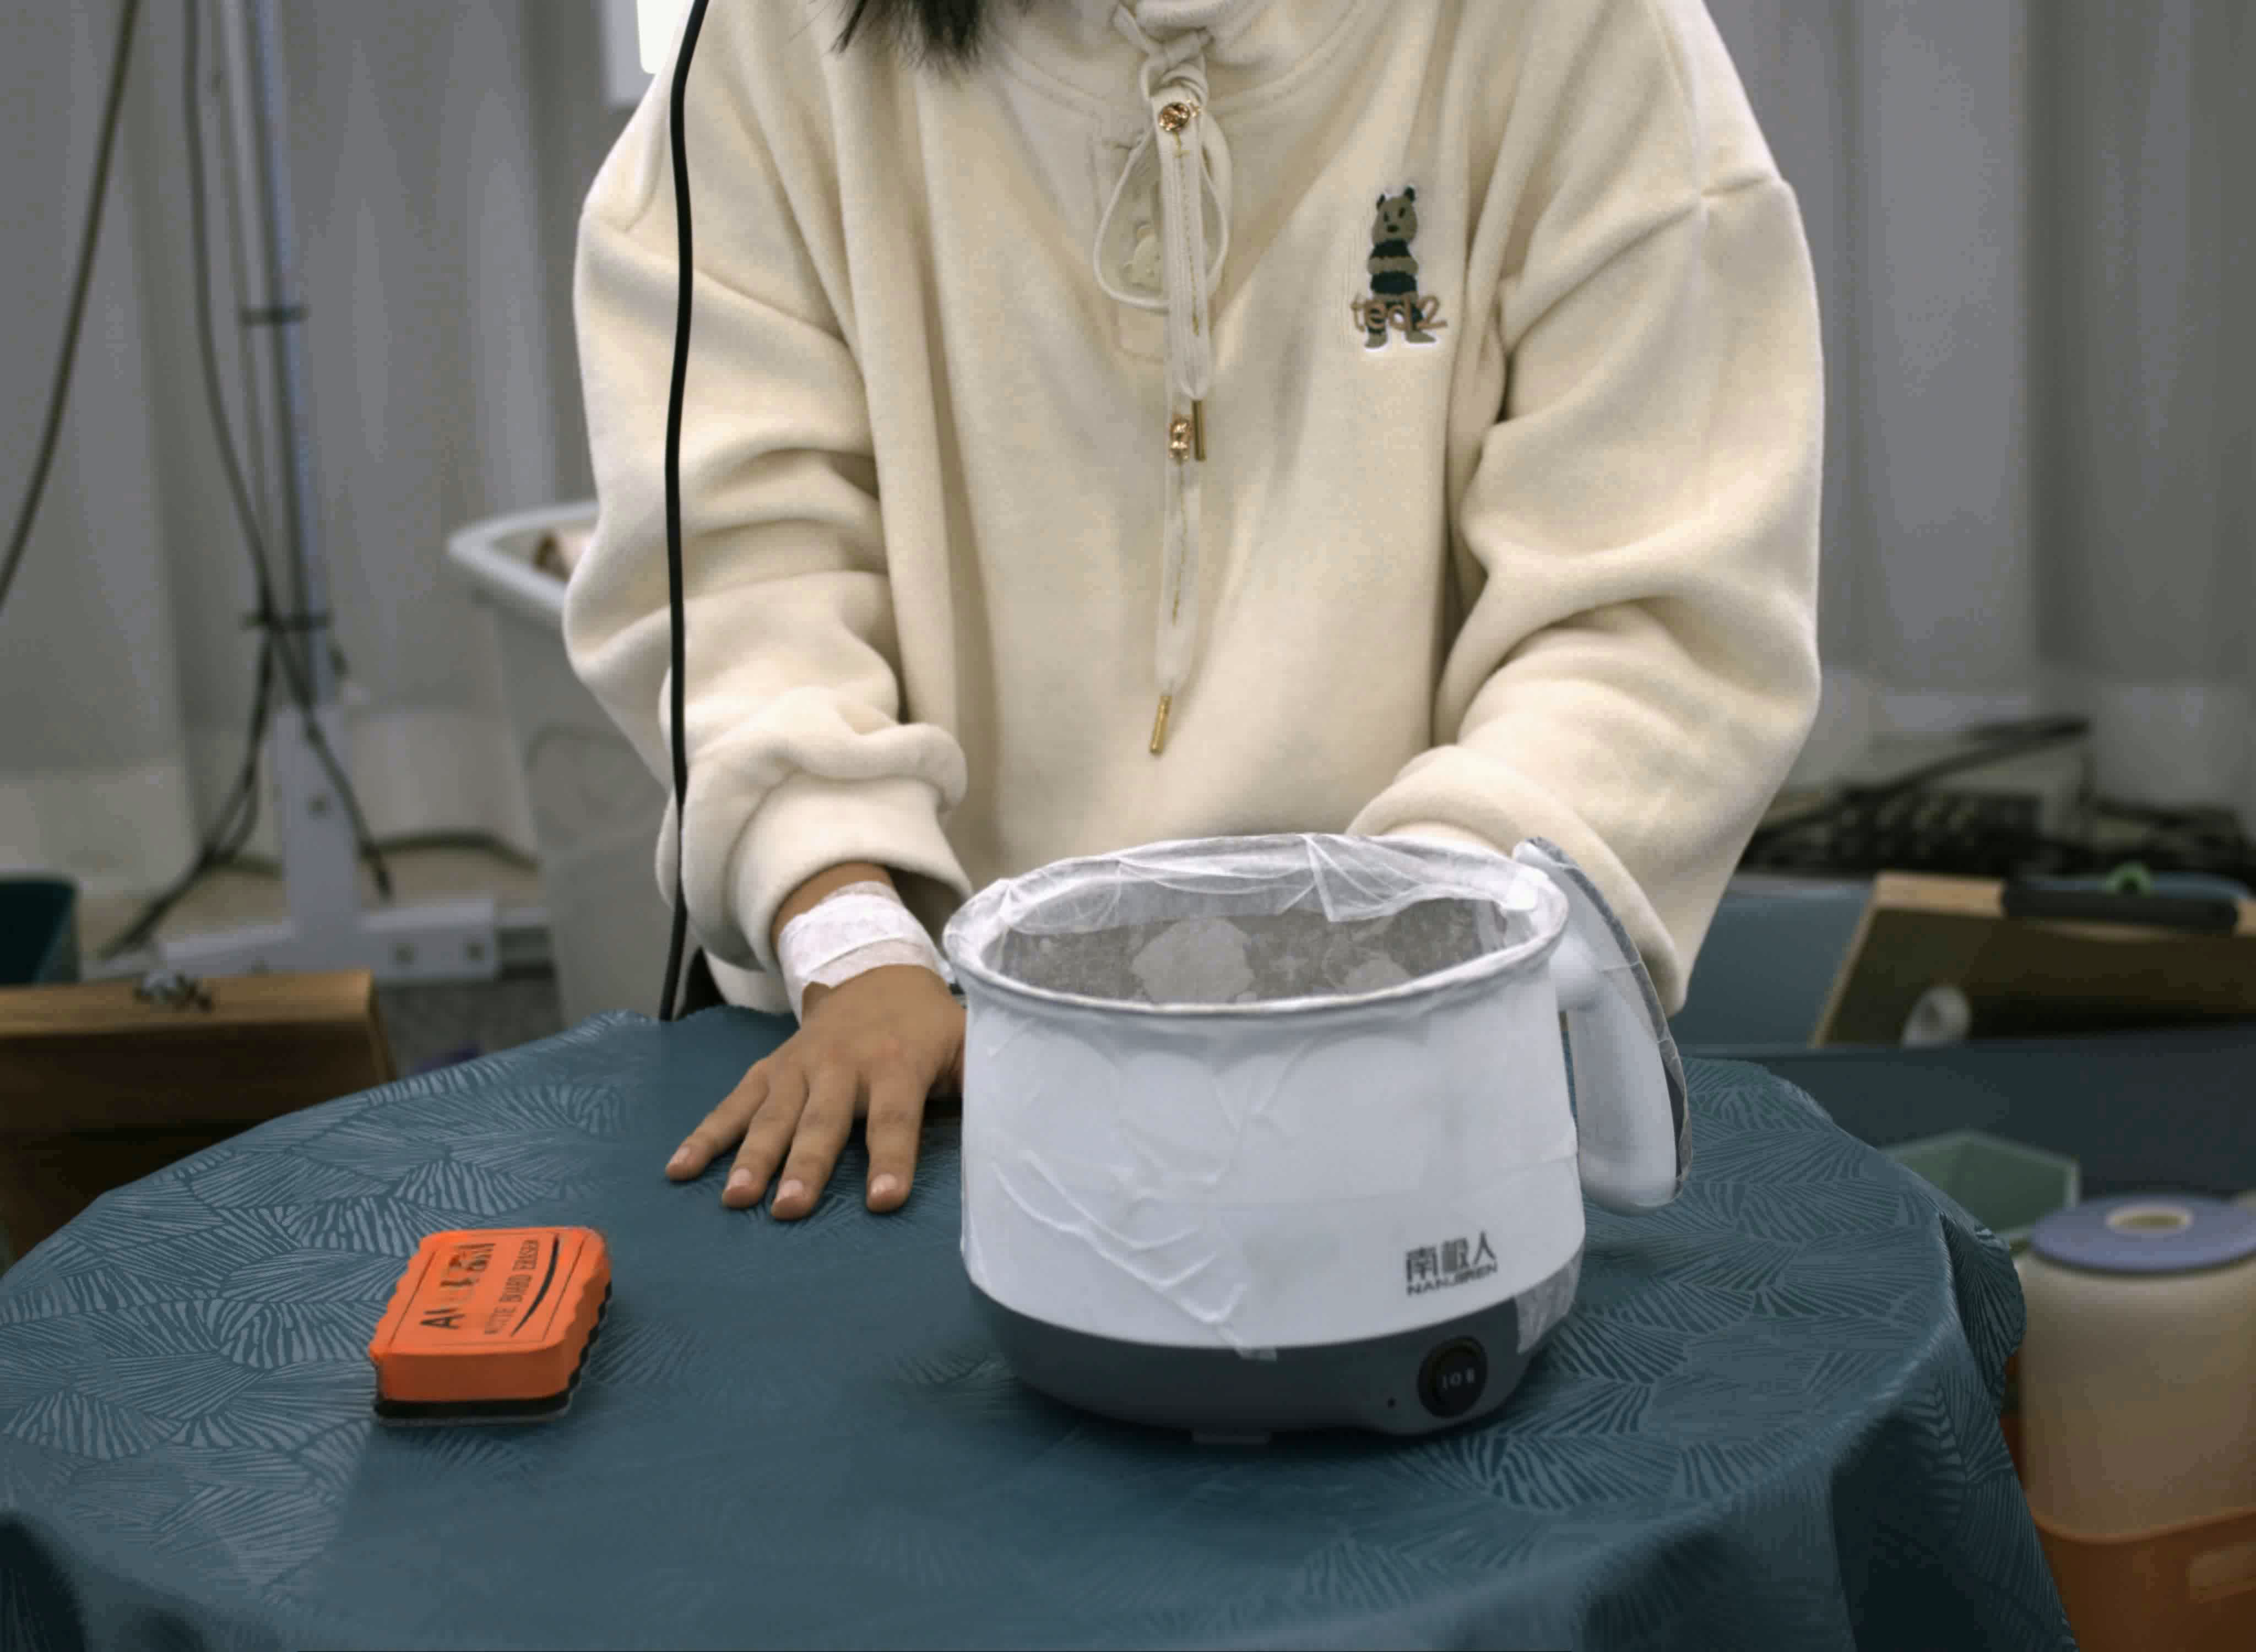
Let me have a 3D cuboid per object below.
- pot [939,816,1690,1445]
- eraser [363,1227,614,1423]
[{"bbox_3d":[0.061,0.079,1.562,0.233,0.136,0.180,-14,20,-32],"label":"pot"},{"bbox_3d":[-0.185,0.144,1.591,0.059,0.023,0.109,1,15,4],"label":"eraser"}]
